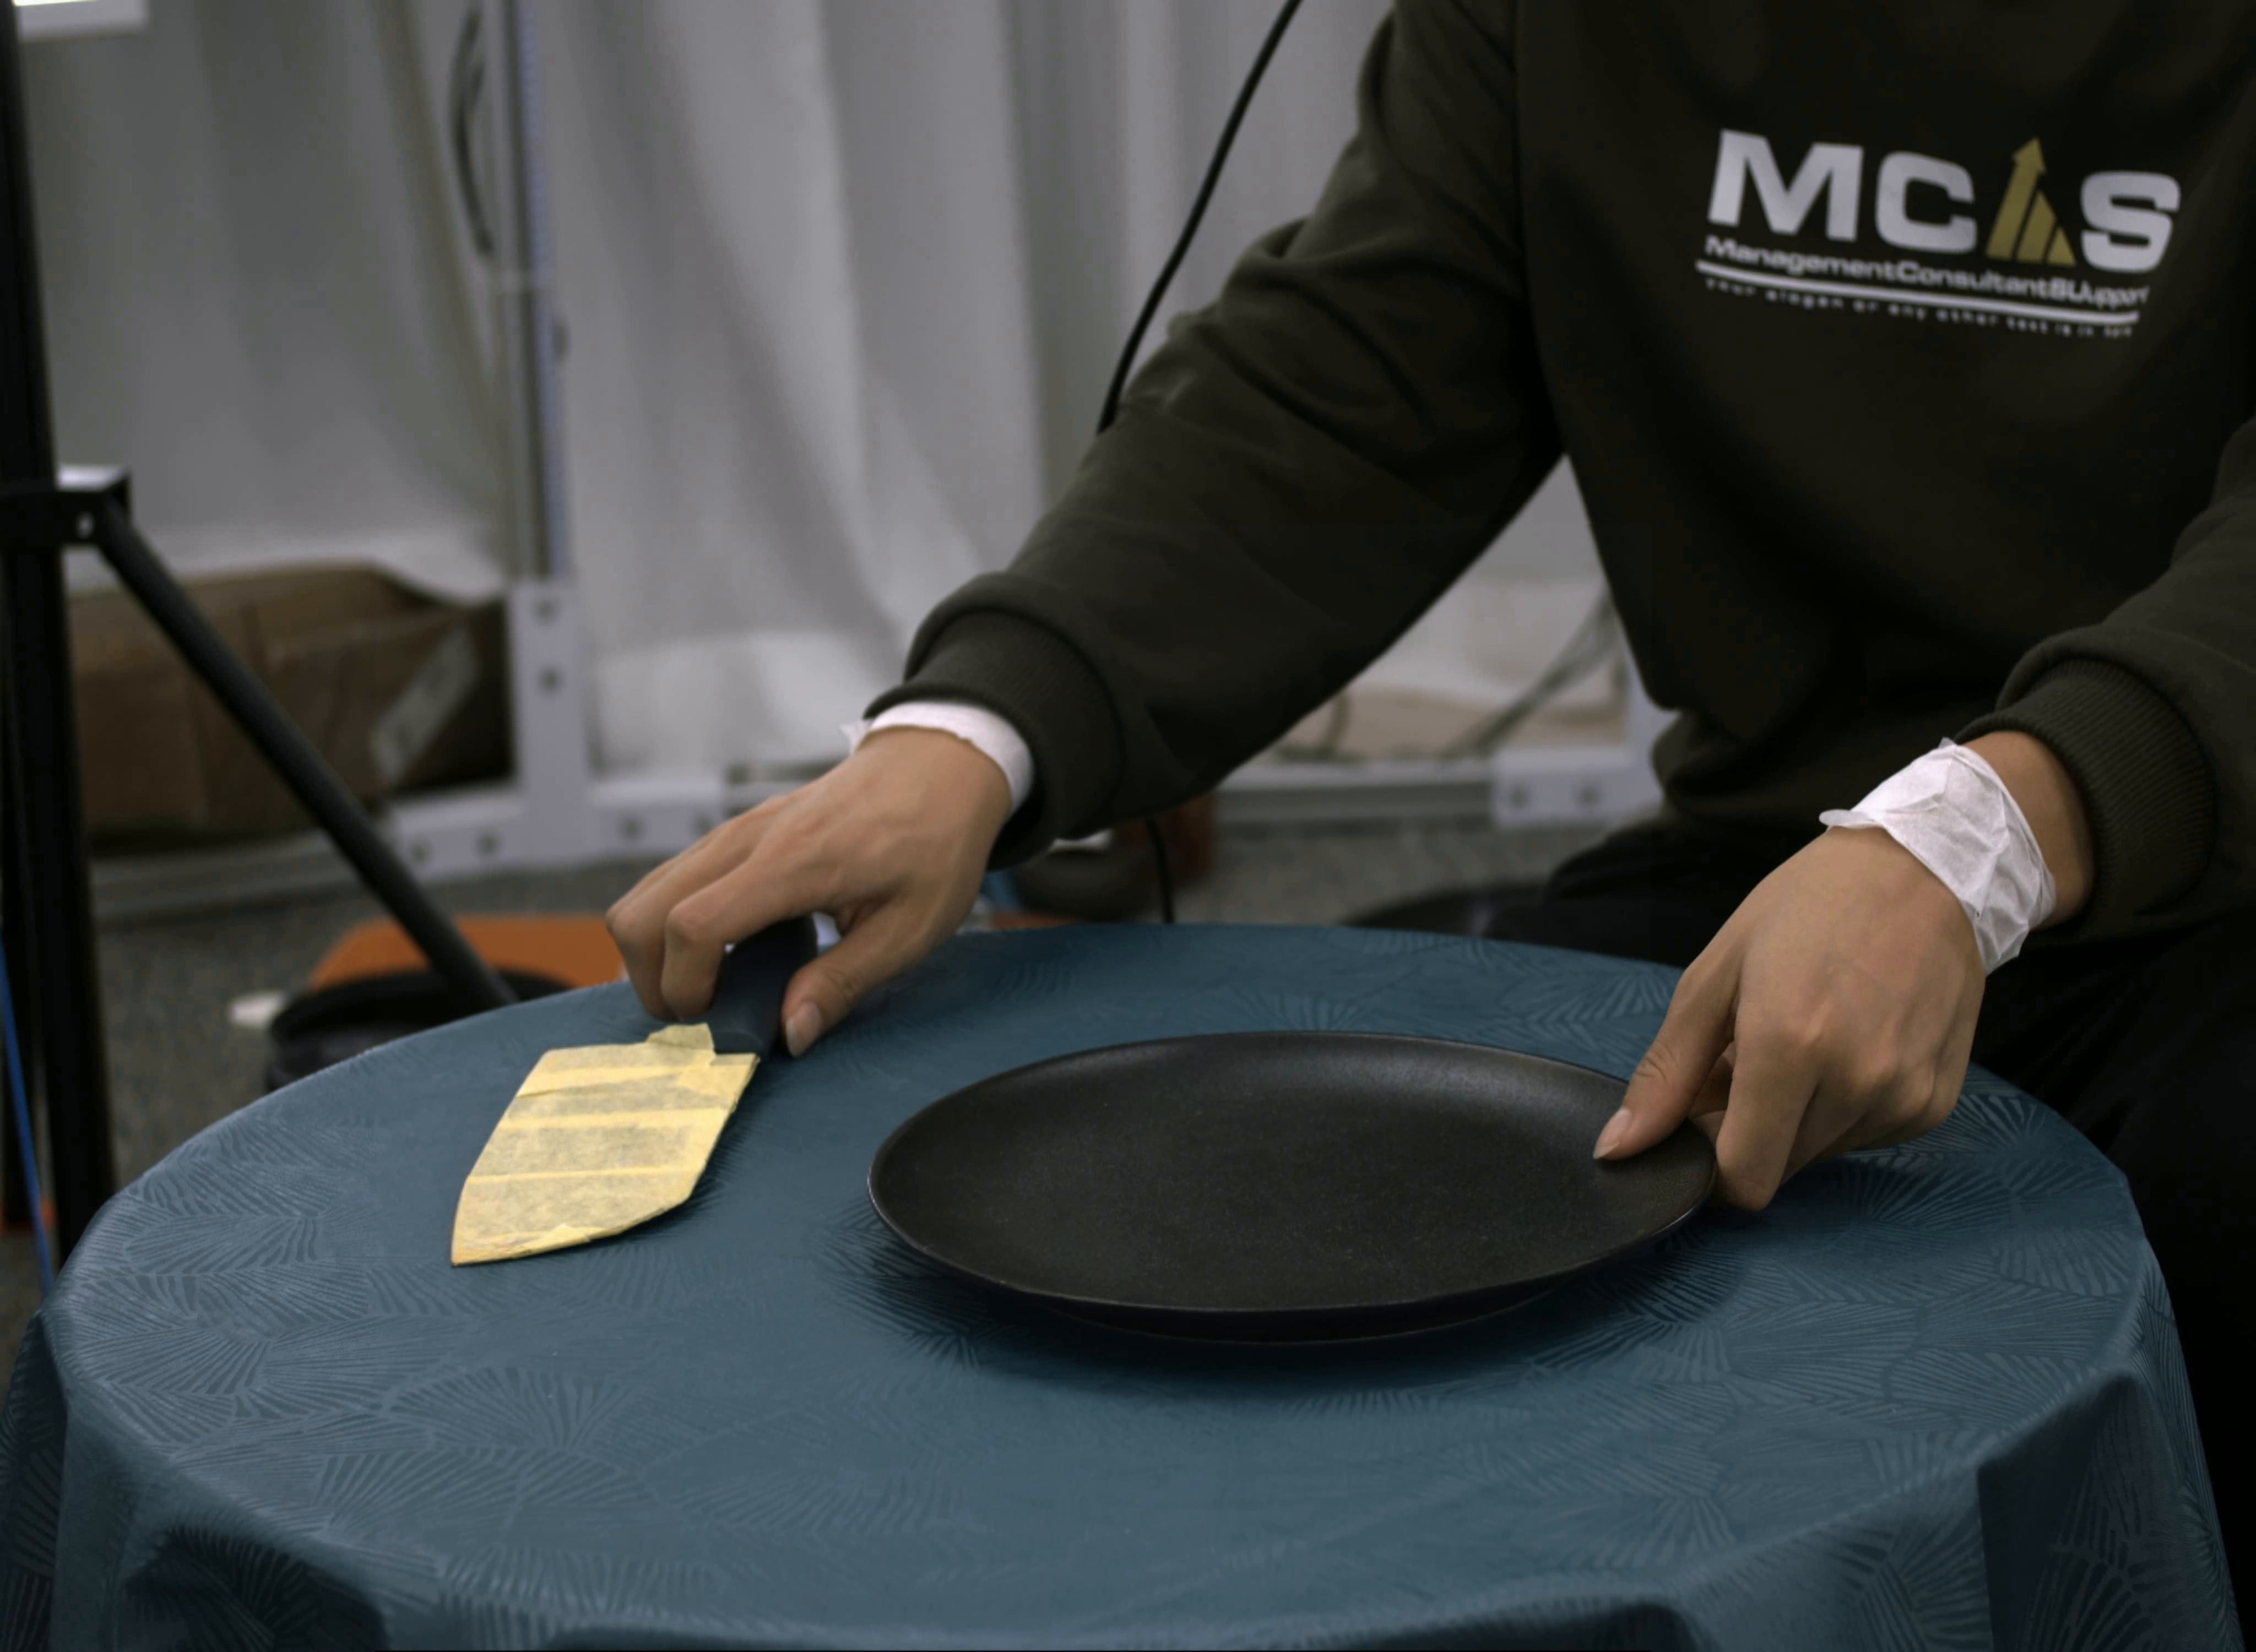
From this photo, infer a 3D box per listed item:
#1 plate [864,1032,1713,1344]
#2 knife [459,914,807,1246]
[{"bbox_3d":[0.046,0.106,1.520,0.243,0.023,0.245,-3,16,-1],"label":"plate"},{"bbox_3d":[-0.150,0.079,1.662,0.081,0.027,0.288,1,17,10],"label":"knife"}]
